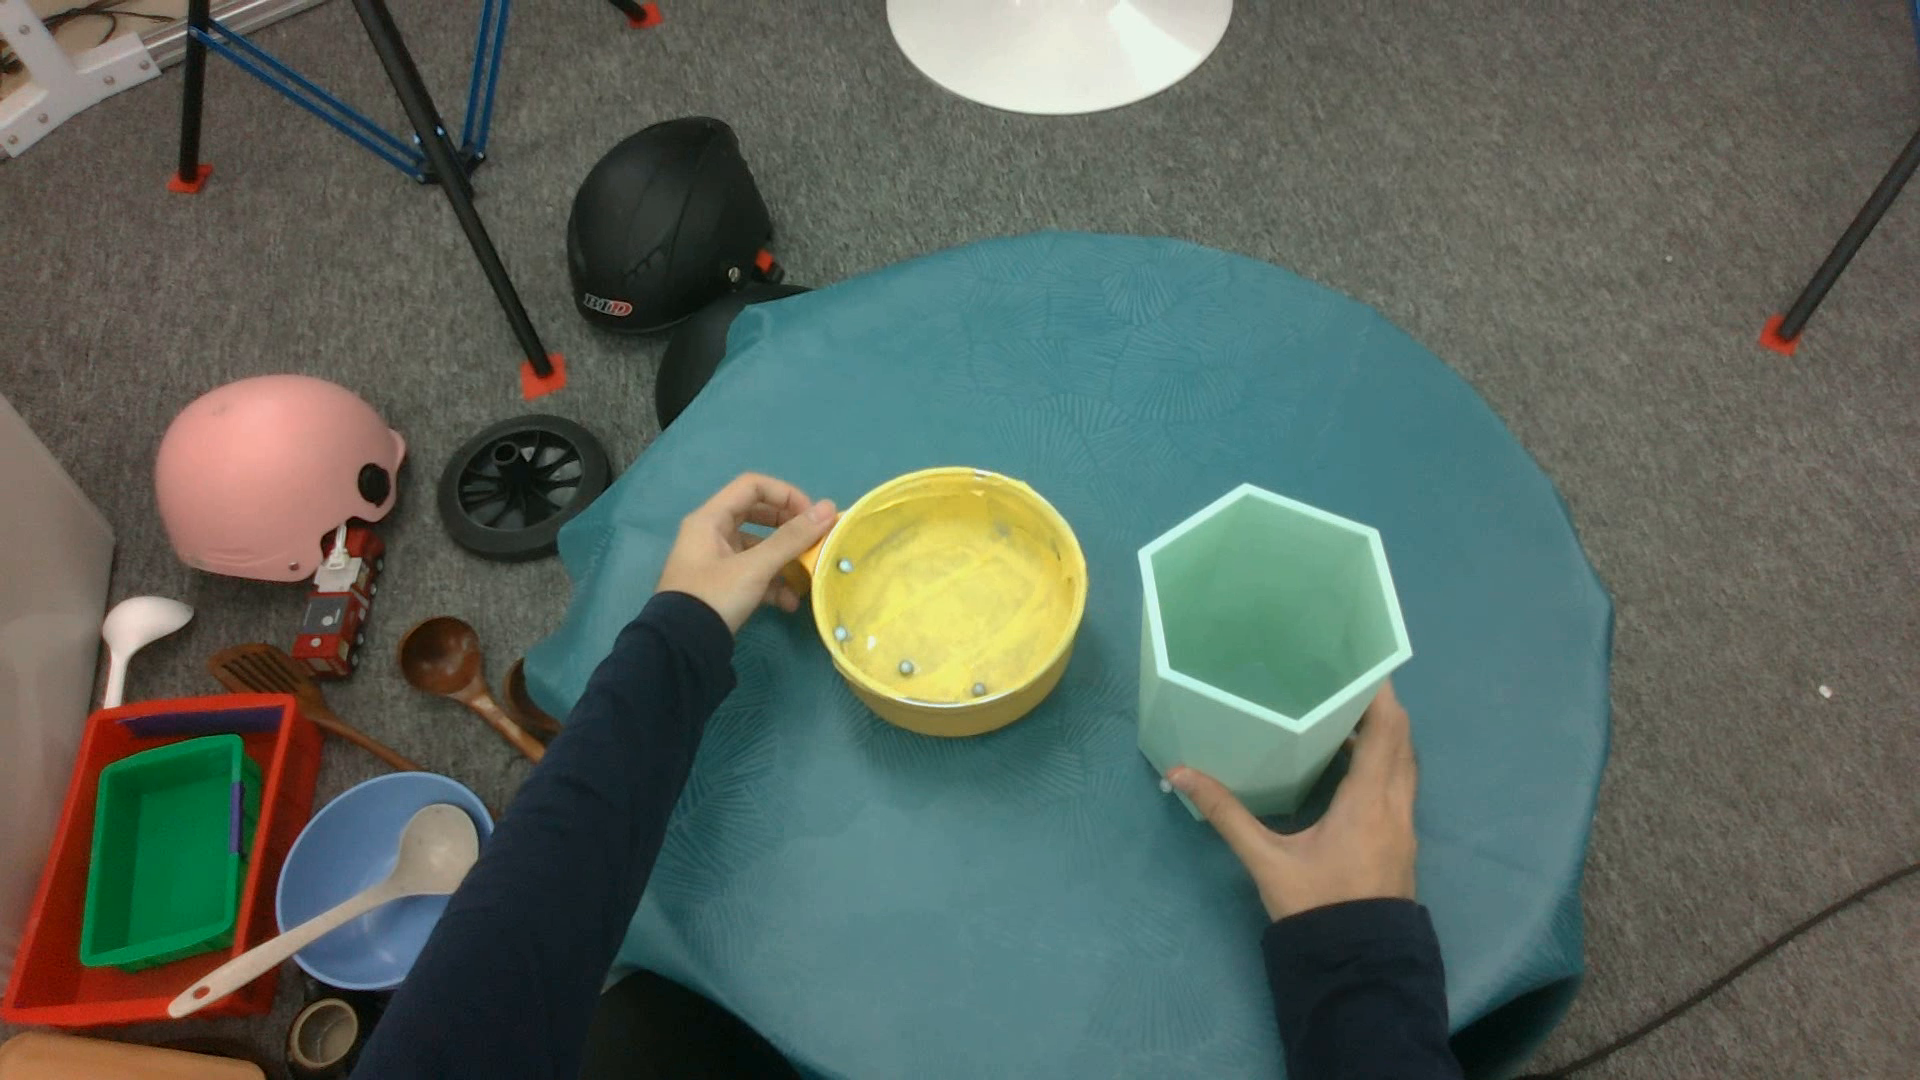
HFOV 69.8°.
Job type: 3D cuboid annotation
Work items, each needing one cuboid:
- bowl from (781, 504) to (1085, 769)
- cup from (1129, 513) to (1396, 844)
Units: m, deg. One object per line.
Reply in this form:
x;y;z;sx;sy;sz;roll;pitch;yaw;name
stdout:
-0.017;0.054;0.802;0.179;0.074;0.153;16;61;13;bowl
0.147;0.083;0.714;0.131;0.162;0.115;18;61;16;cup
